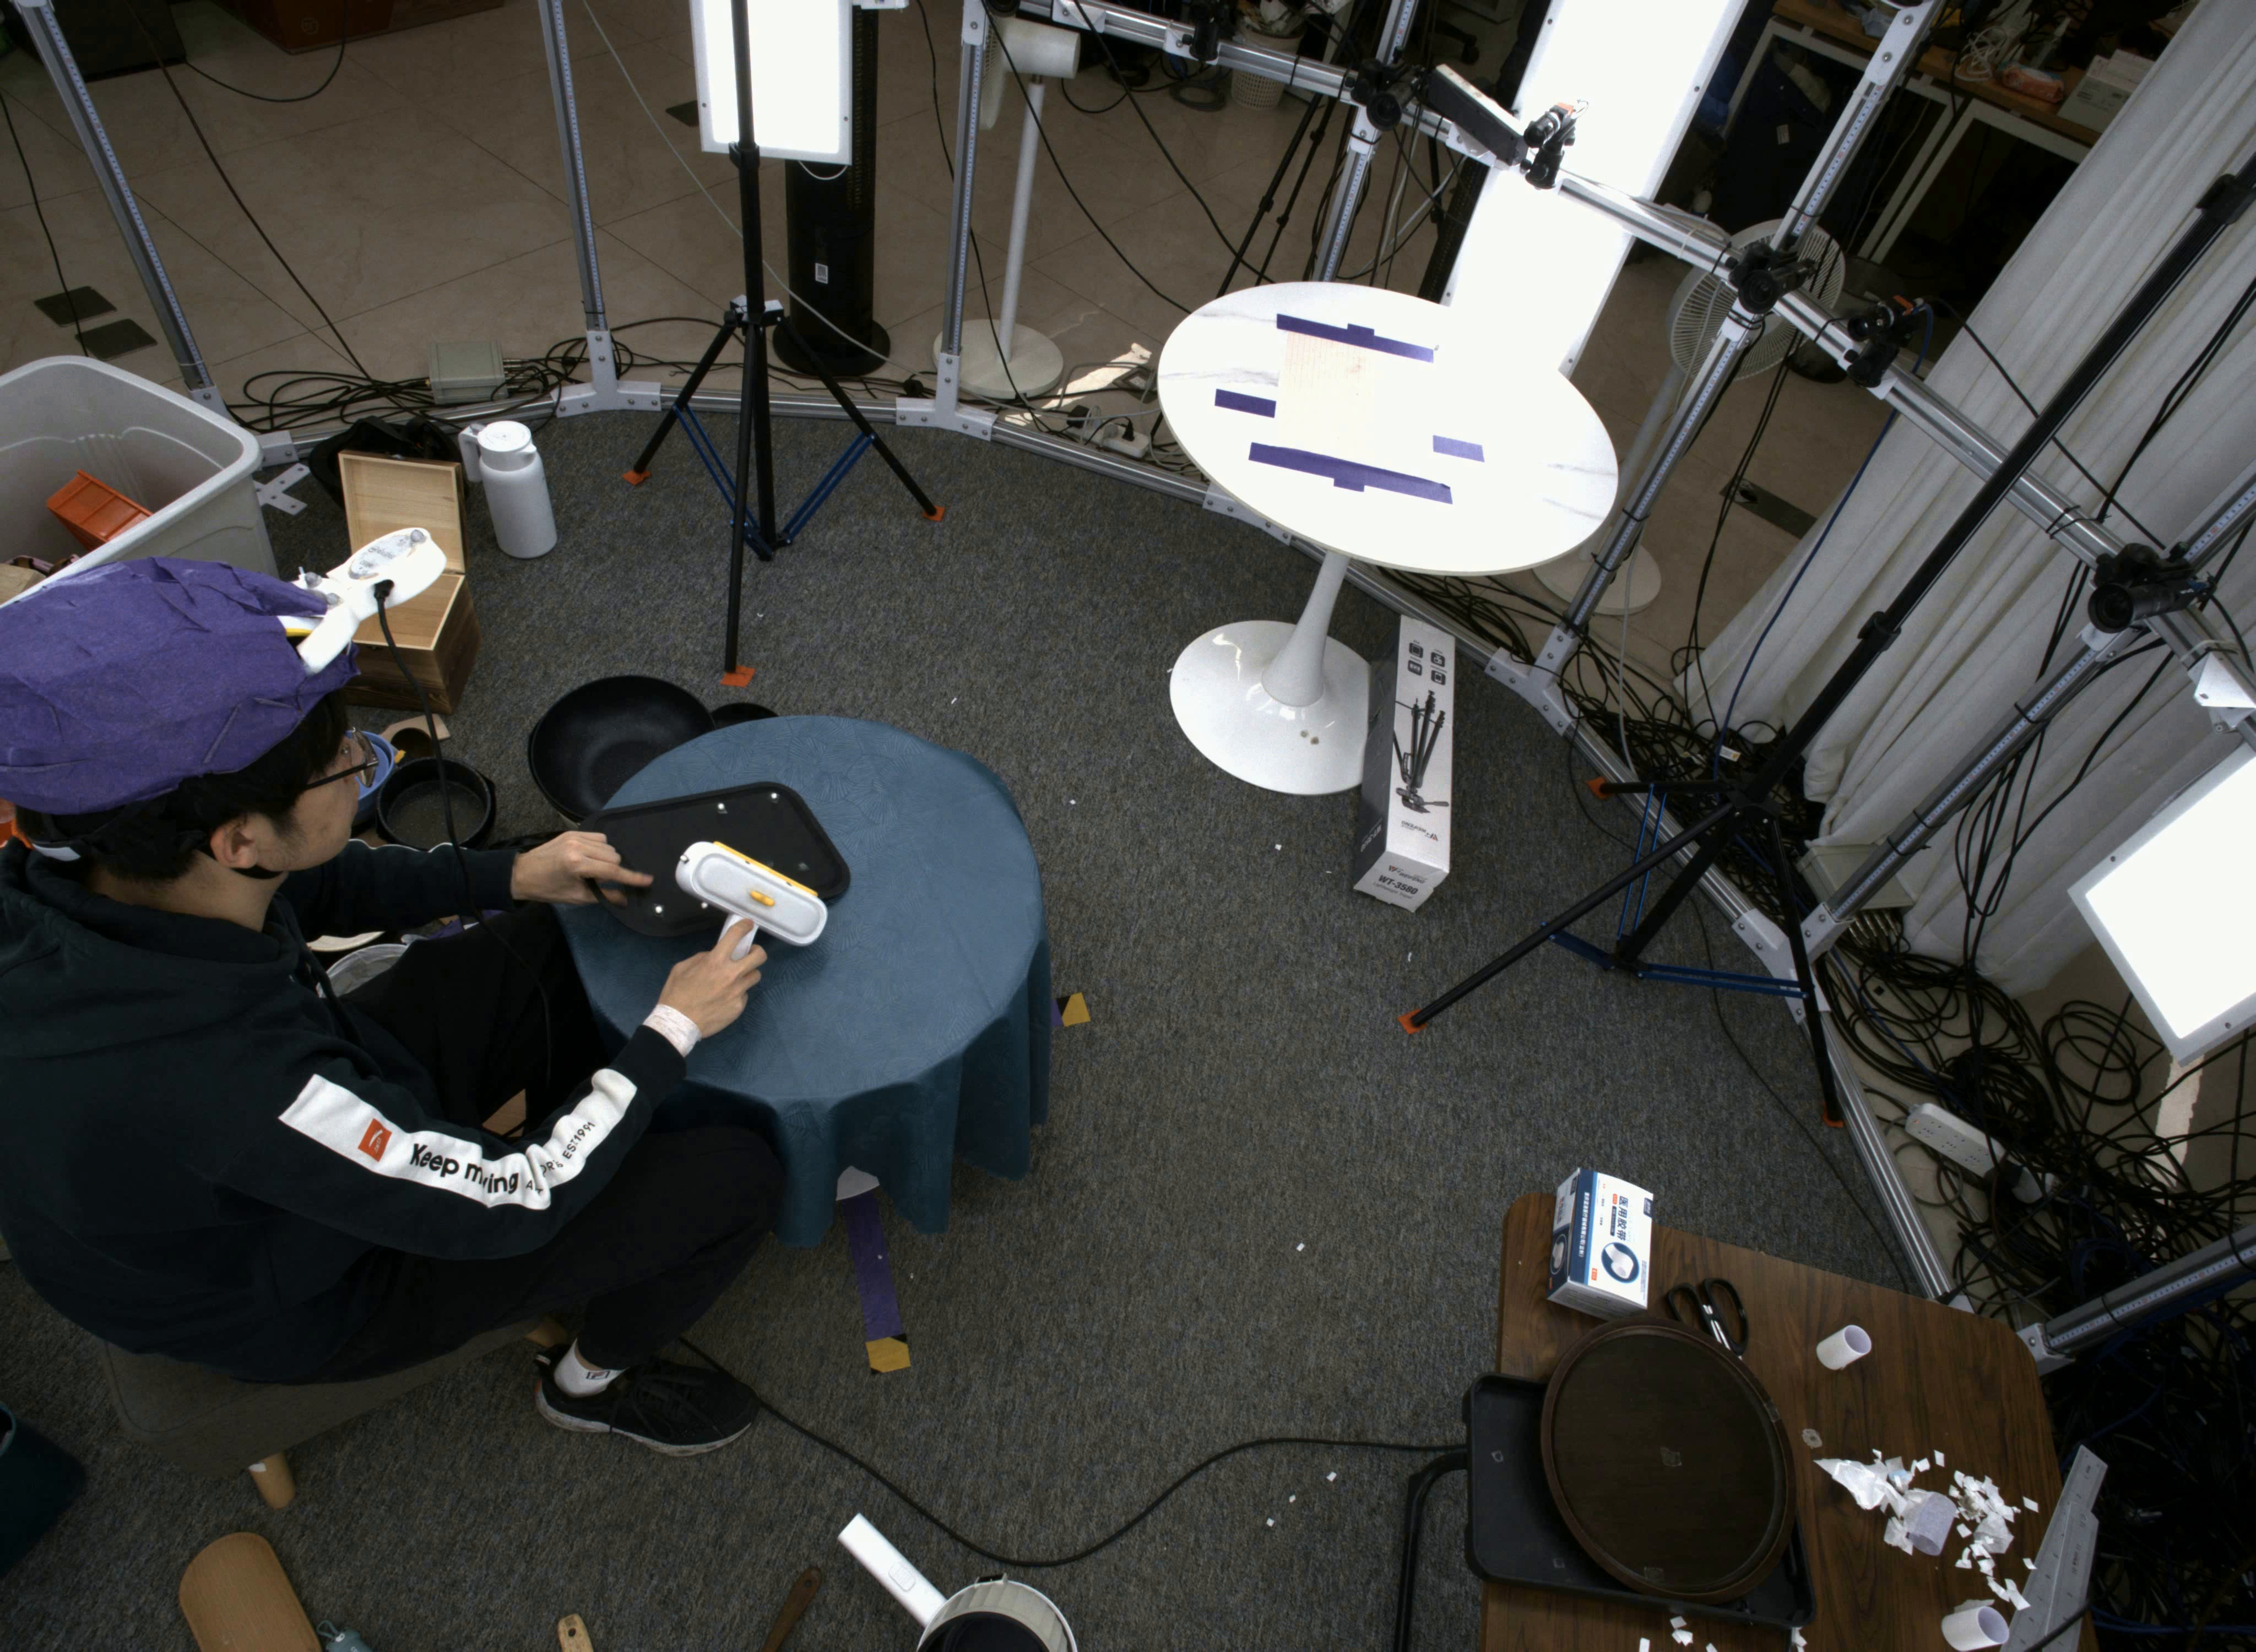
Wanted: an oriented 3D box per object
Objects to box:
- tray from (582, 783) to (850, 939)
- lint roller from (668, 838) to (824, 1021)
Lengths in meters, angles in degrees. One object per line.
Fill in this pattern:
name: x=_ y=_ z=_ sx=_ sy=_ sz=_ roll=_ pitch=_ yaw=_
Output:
tray: x=-0.519 y=0.036 z=1.616 sx=0.329 sy=0.010 sz=0.206 roll=-15 pitch=58 yaw=-43
lint roller: x=-0.463 y=0.131 z=1.522 sx=0.199 sy=0.072 sz=0.192 roll=29 pitch=71 yaw=-39
